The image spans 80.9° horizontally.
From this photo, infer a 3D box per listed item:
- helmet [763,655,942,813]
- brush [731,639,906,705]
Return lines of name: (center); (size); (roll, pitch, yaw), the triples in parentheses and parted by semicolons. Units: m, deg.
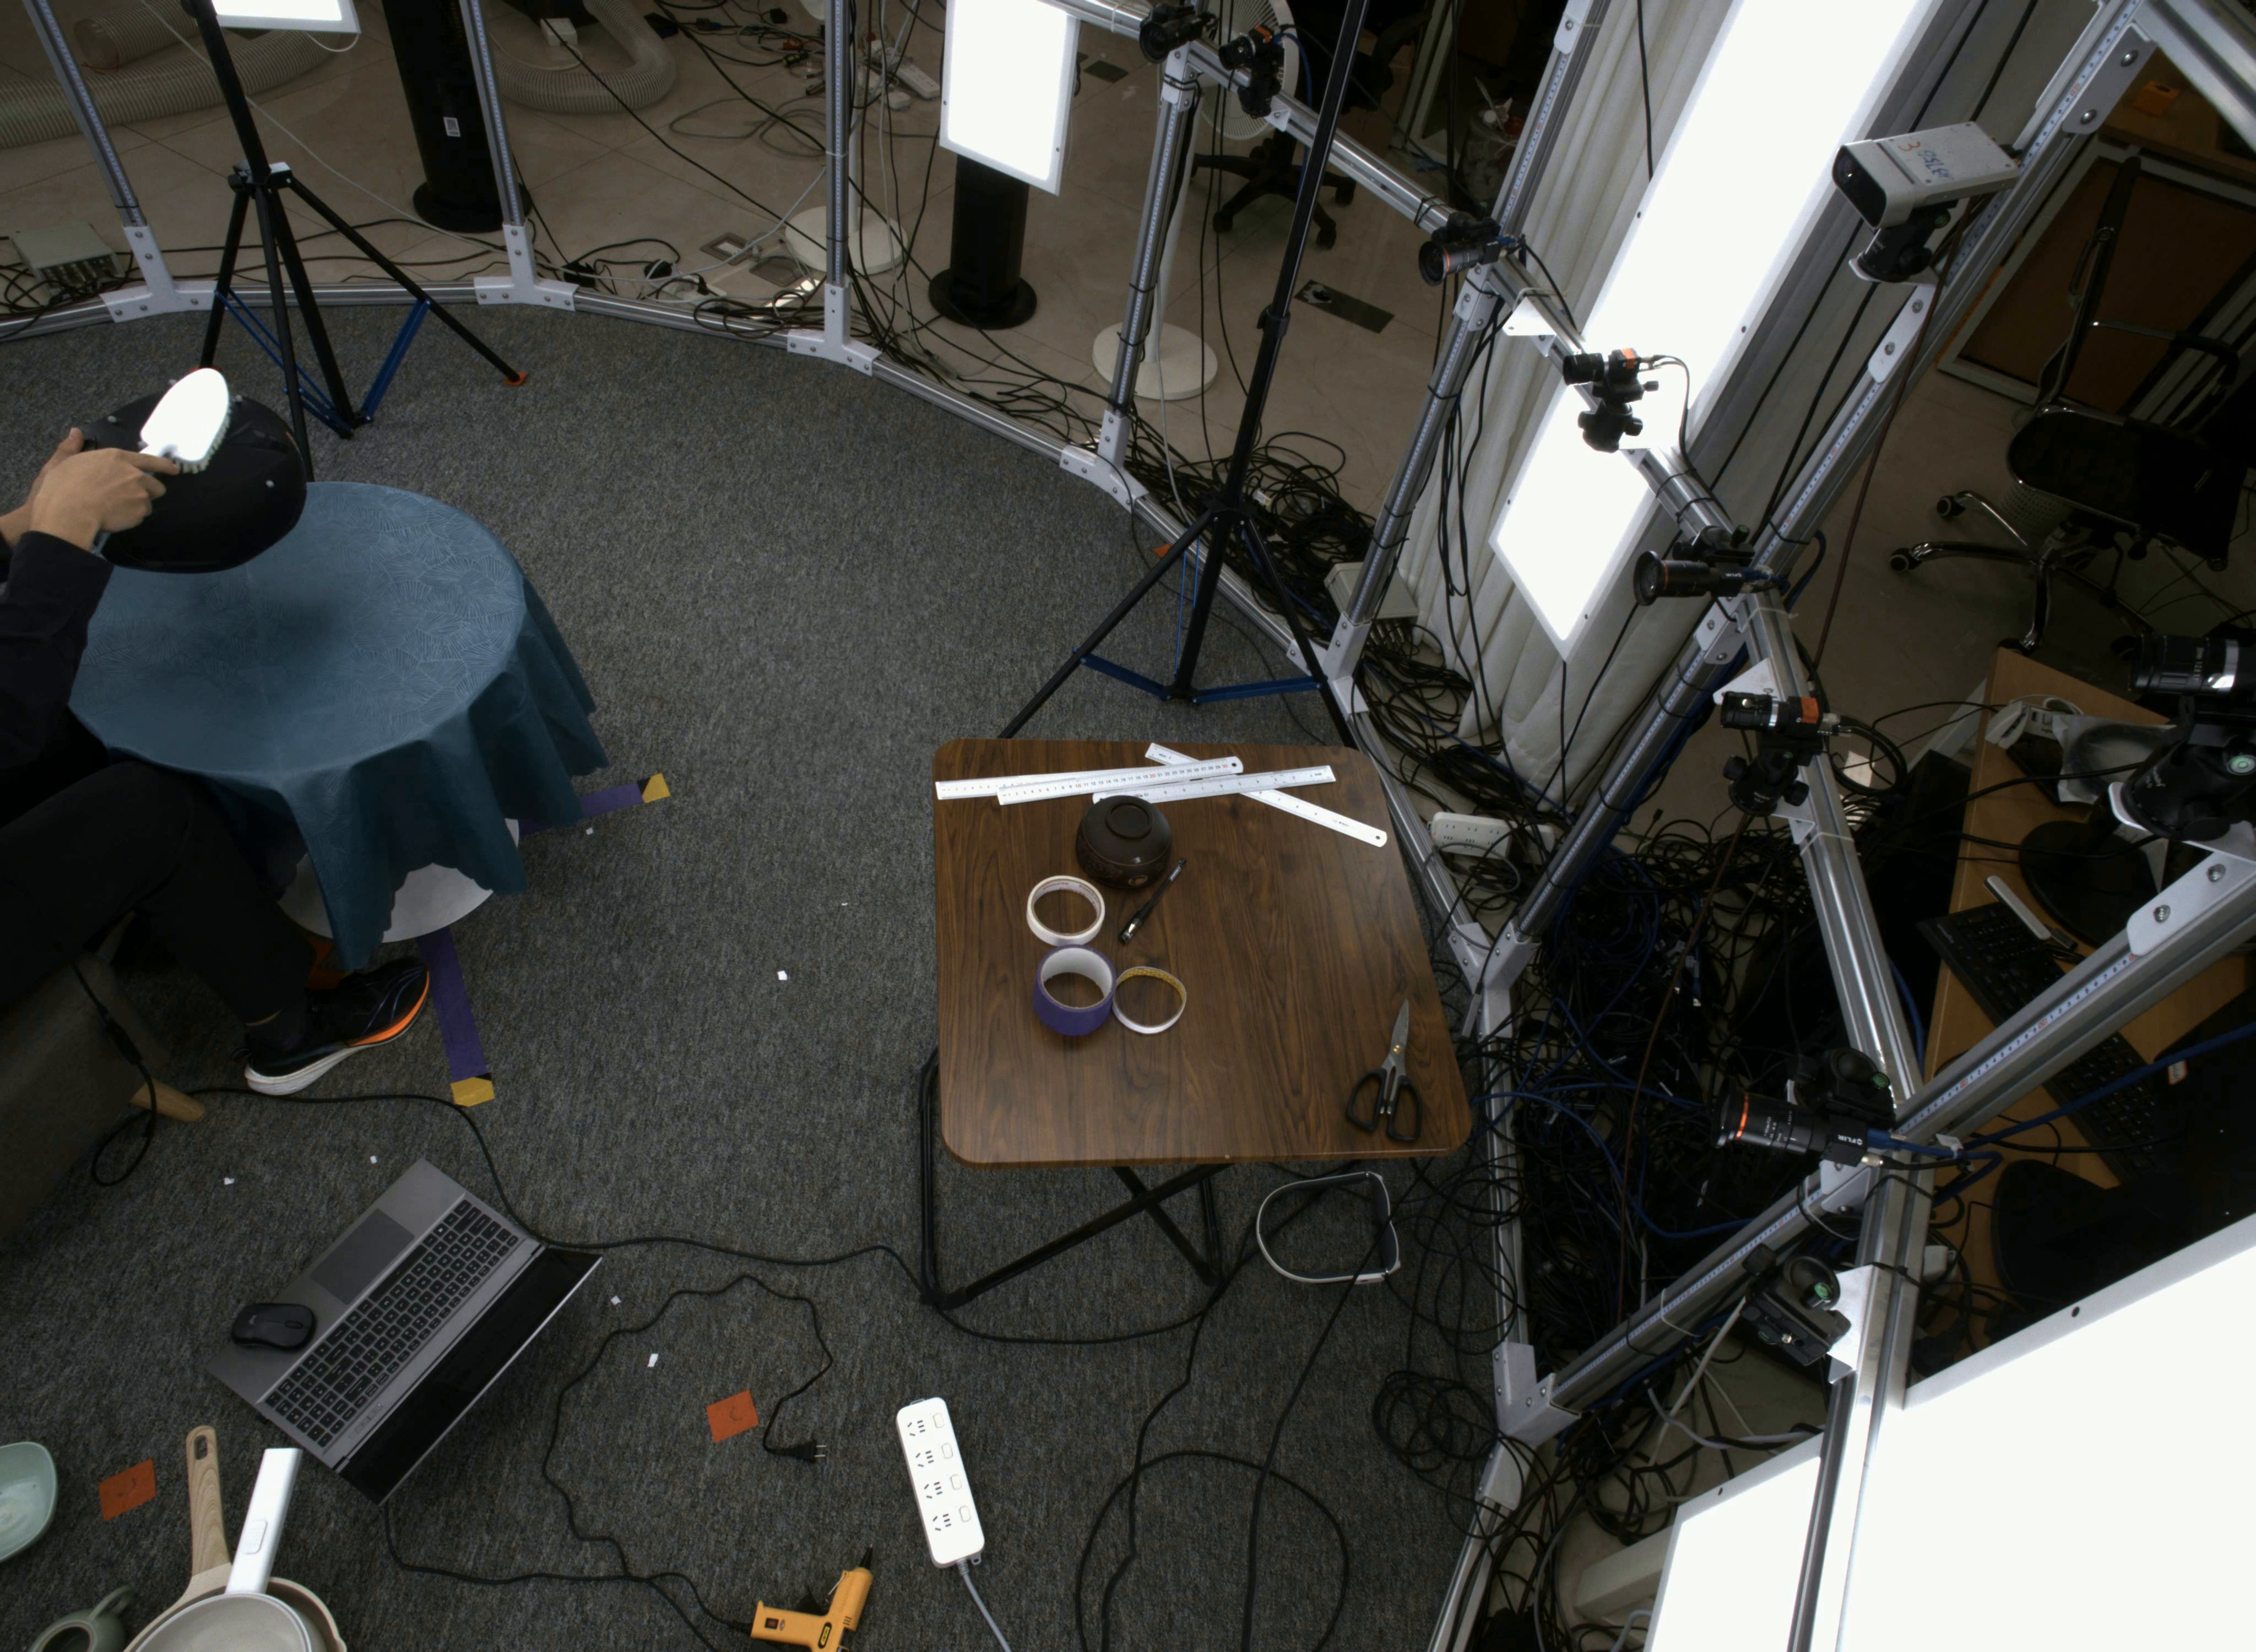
helmet: (-0.418, -0.134, 1.989); (0.278, 0.252, 0.168); (3, 13, -17)
brush: (-0.445, -0.201, 1.854); (0.080, 0.087, 0.327); (5, 21, 35)
